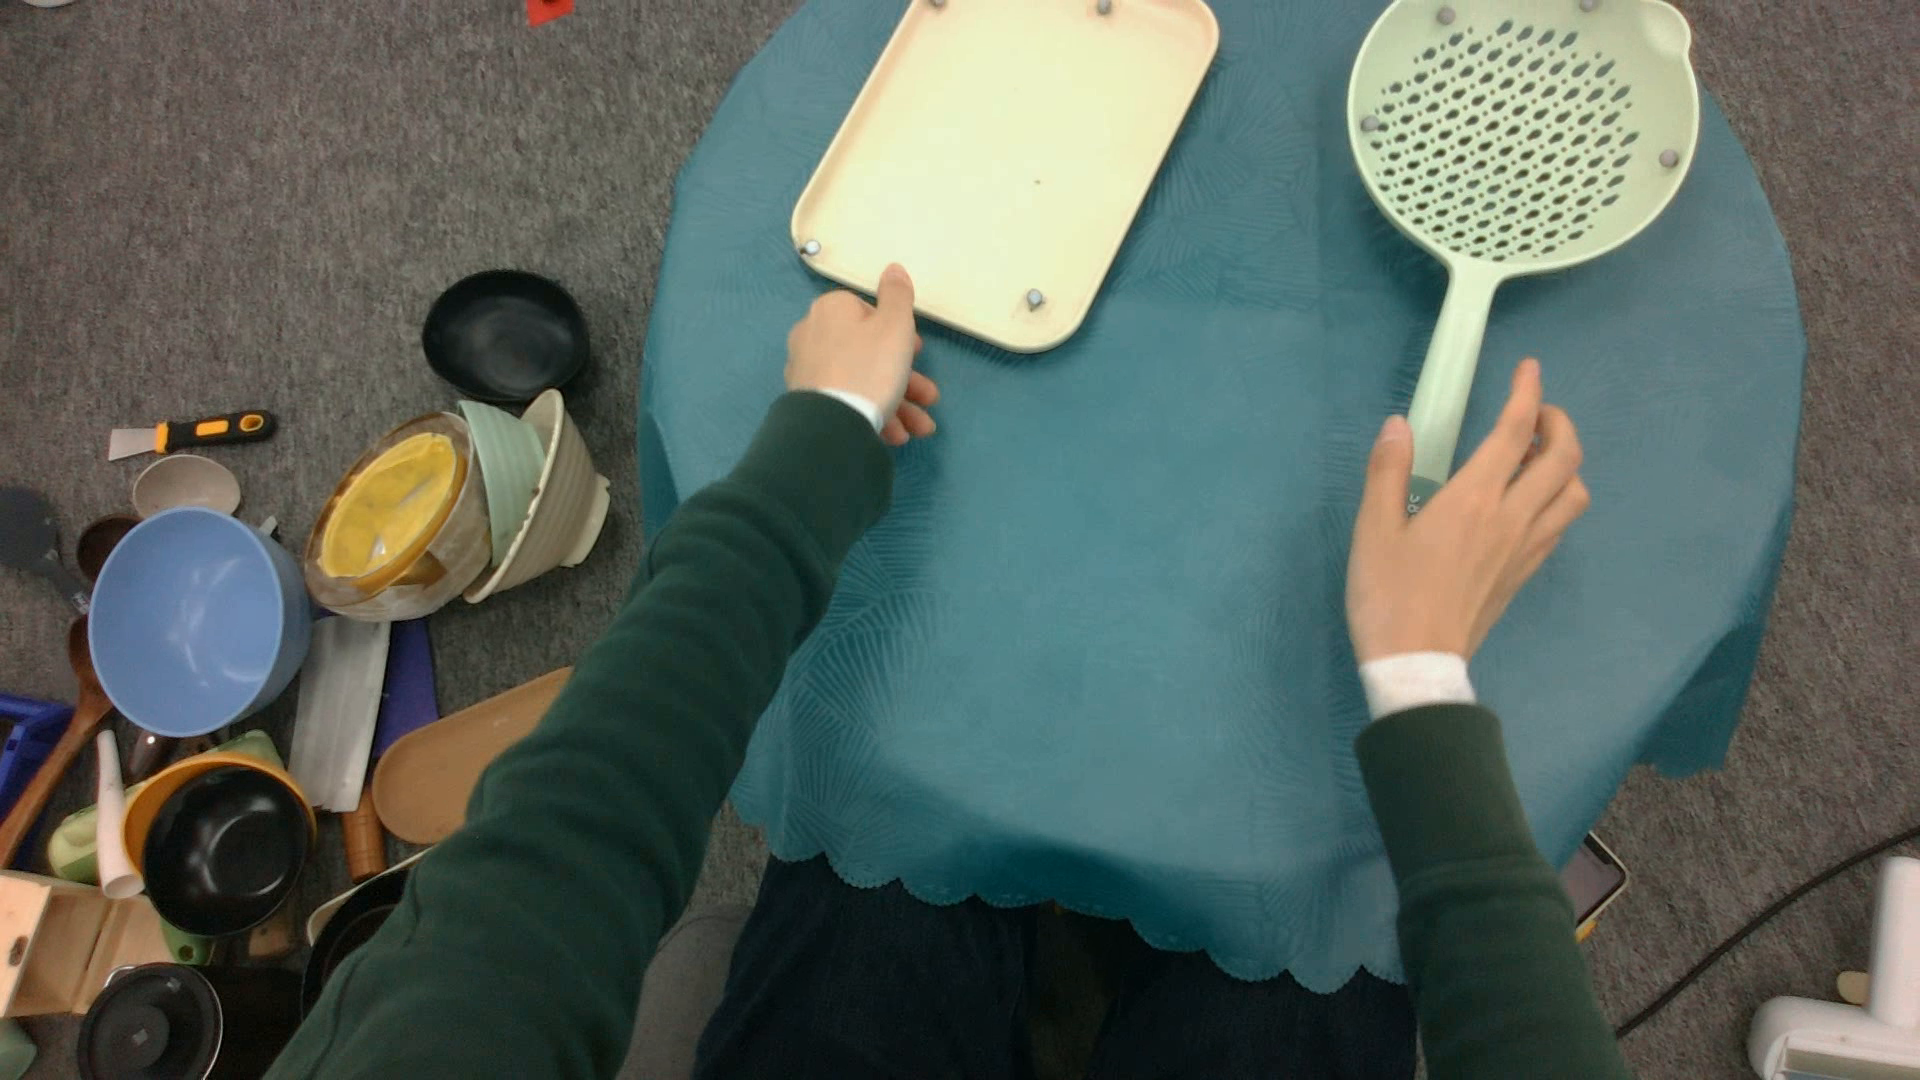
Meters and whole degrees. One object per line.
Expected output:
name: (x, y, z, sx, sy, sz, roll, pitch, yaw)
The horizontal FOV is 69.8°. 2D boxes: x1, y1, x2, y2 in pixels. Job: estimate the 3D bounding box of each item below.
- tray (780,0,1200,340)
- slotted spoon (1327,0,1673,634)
tray: (0.019, -0.229, 0.761, 0.171, 0.017, 0.240, 23, 74, 10)
slotted spoon: (0.243, -0.128, 0.690, 0.169, 0.075, 0.360, 16, 73, 9)
